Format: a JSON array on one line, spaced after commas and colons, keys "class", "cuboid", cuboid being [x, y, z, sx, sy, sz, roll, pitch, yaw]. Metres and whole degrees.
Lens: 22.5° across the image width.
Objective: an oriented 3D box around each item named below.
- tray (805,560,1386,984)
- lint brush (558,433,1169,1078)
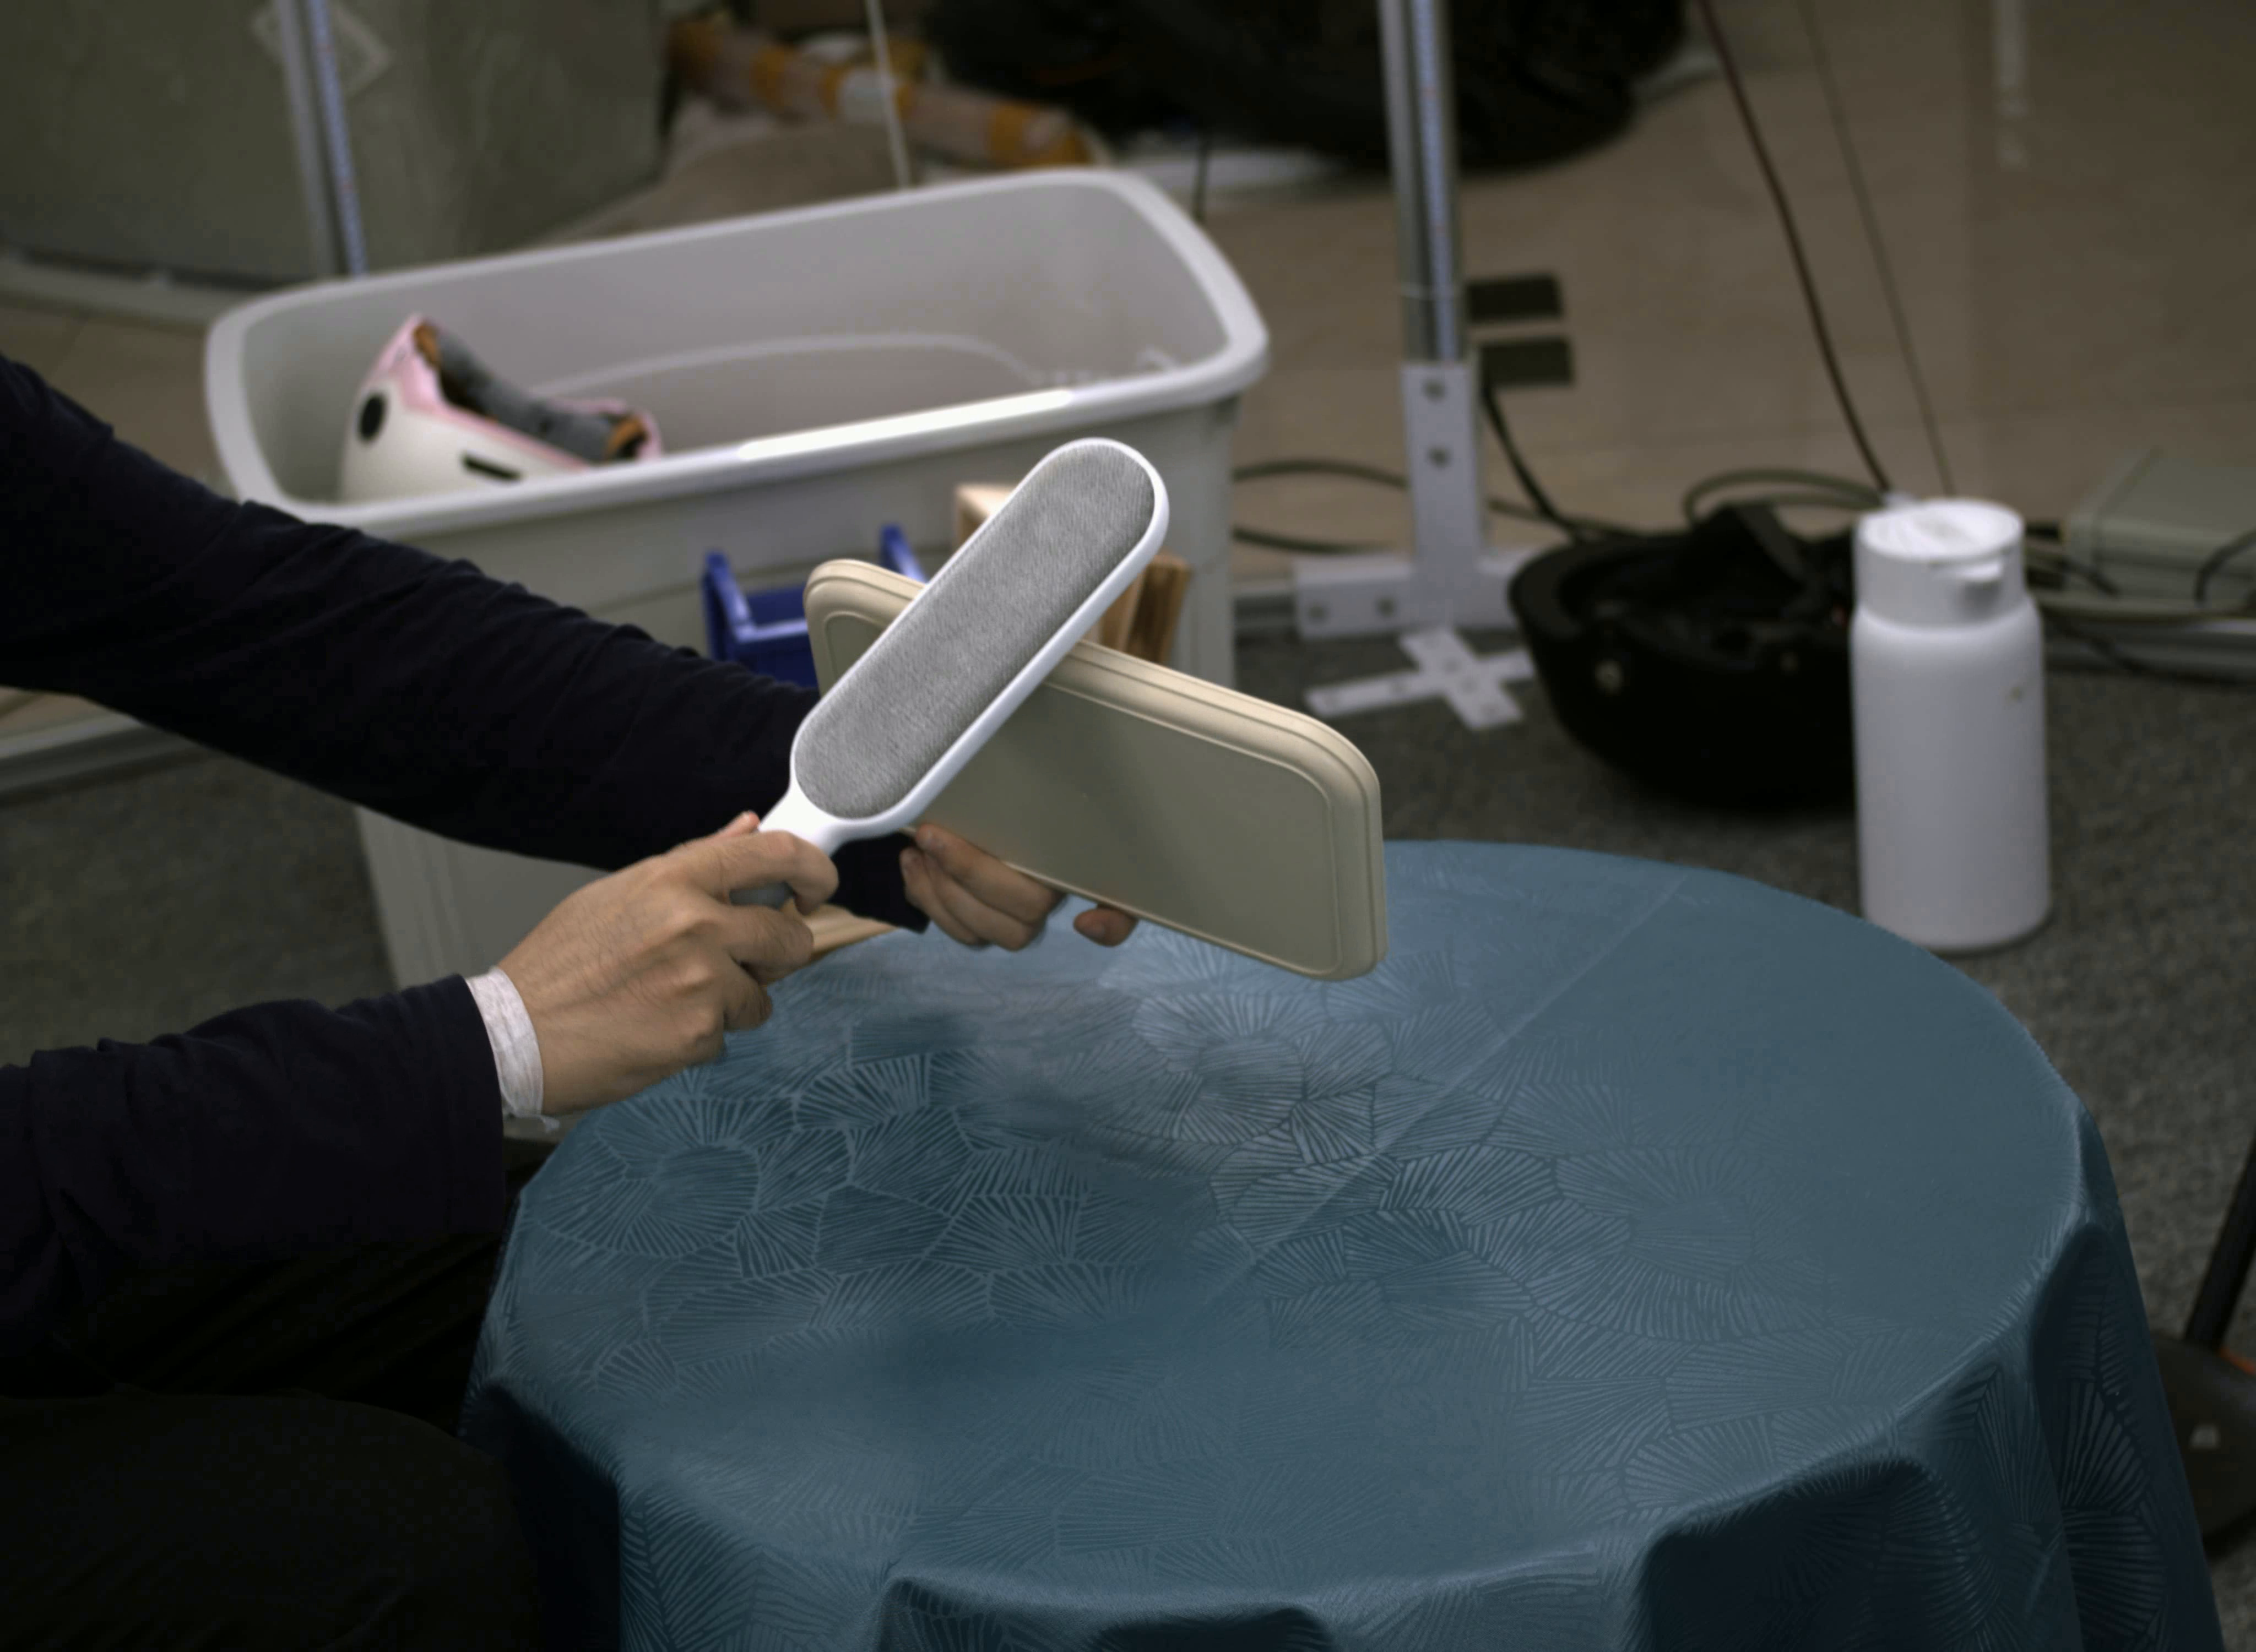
[{"class": "tray", "cuboid": [-0.014, -0.017, 2.164, 0.238, 0.174, 0.017, 20, 61, 16]}, {"class": "lint brush", "cuboid": [-0.099, -0.026, 2.067, 0.059, 0.021, 0.308, 42, 87, 17]}]
